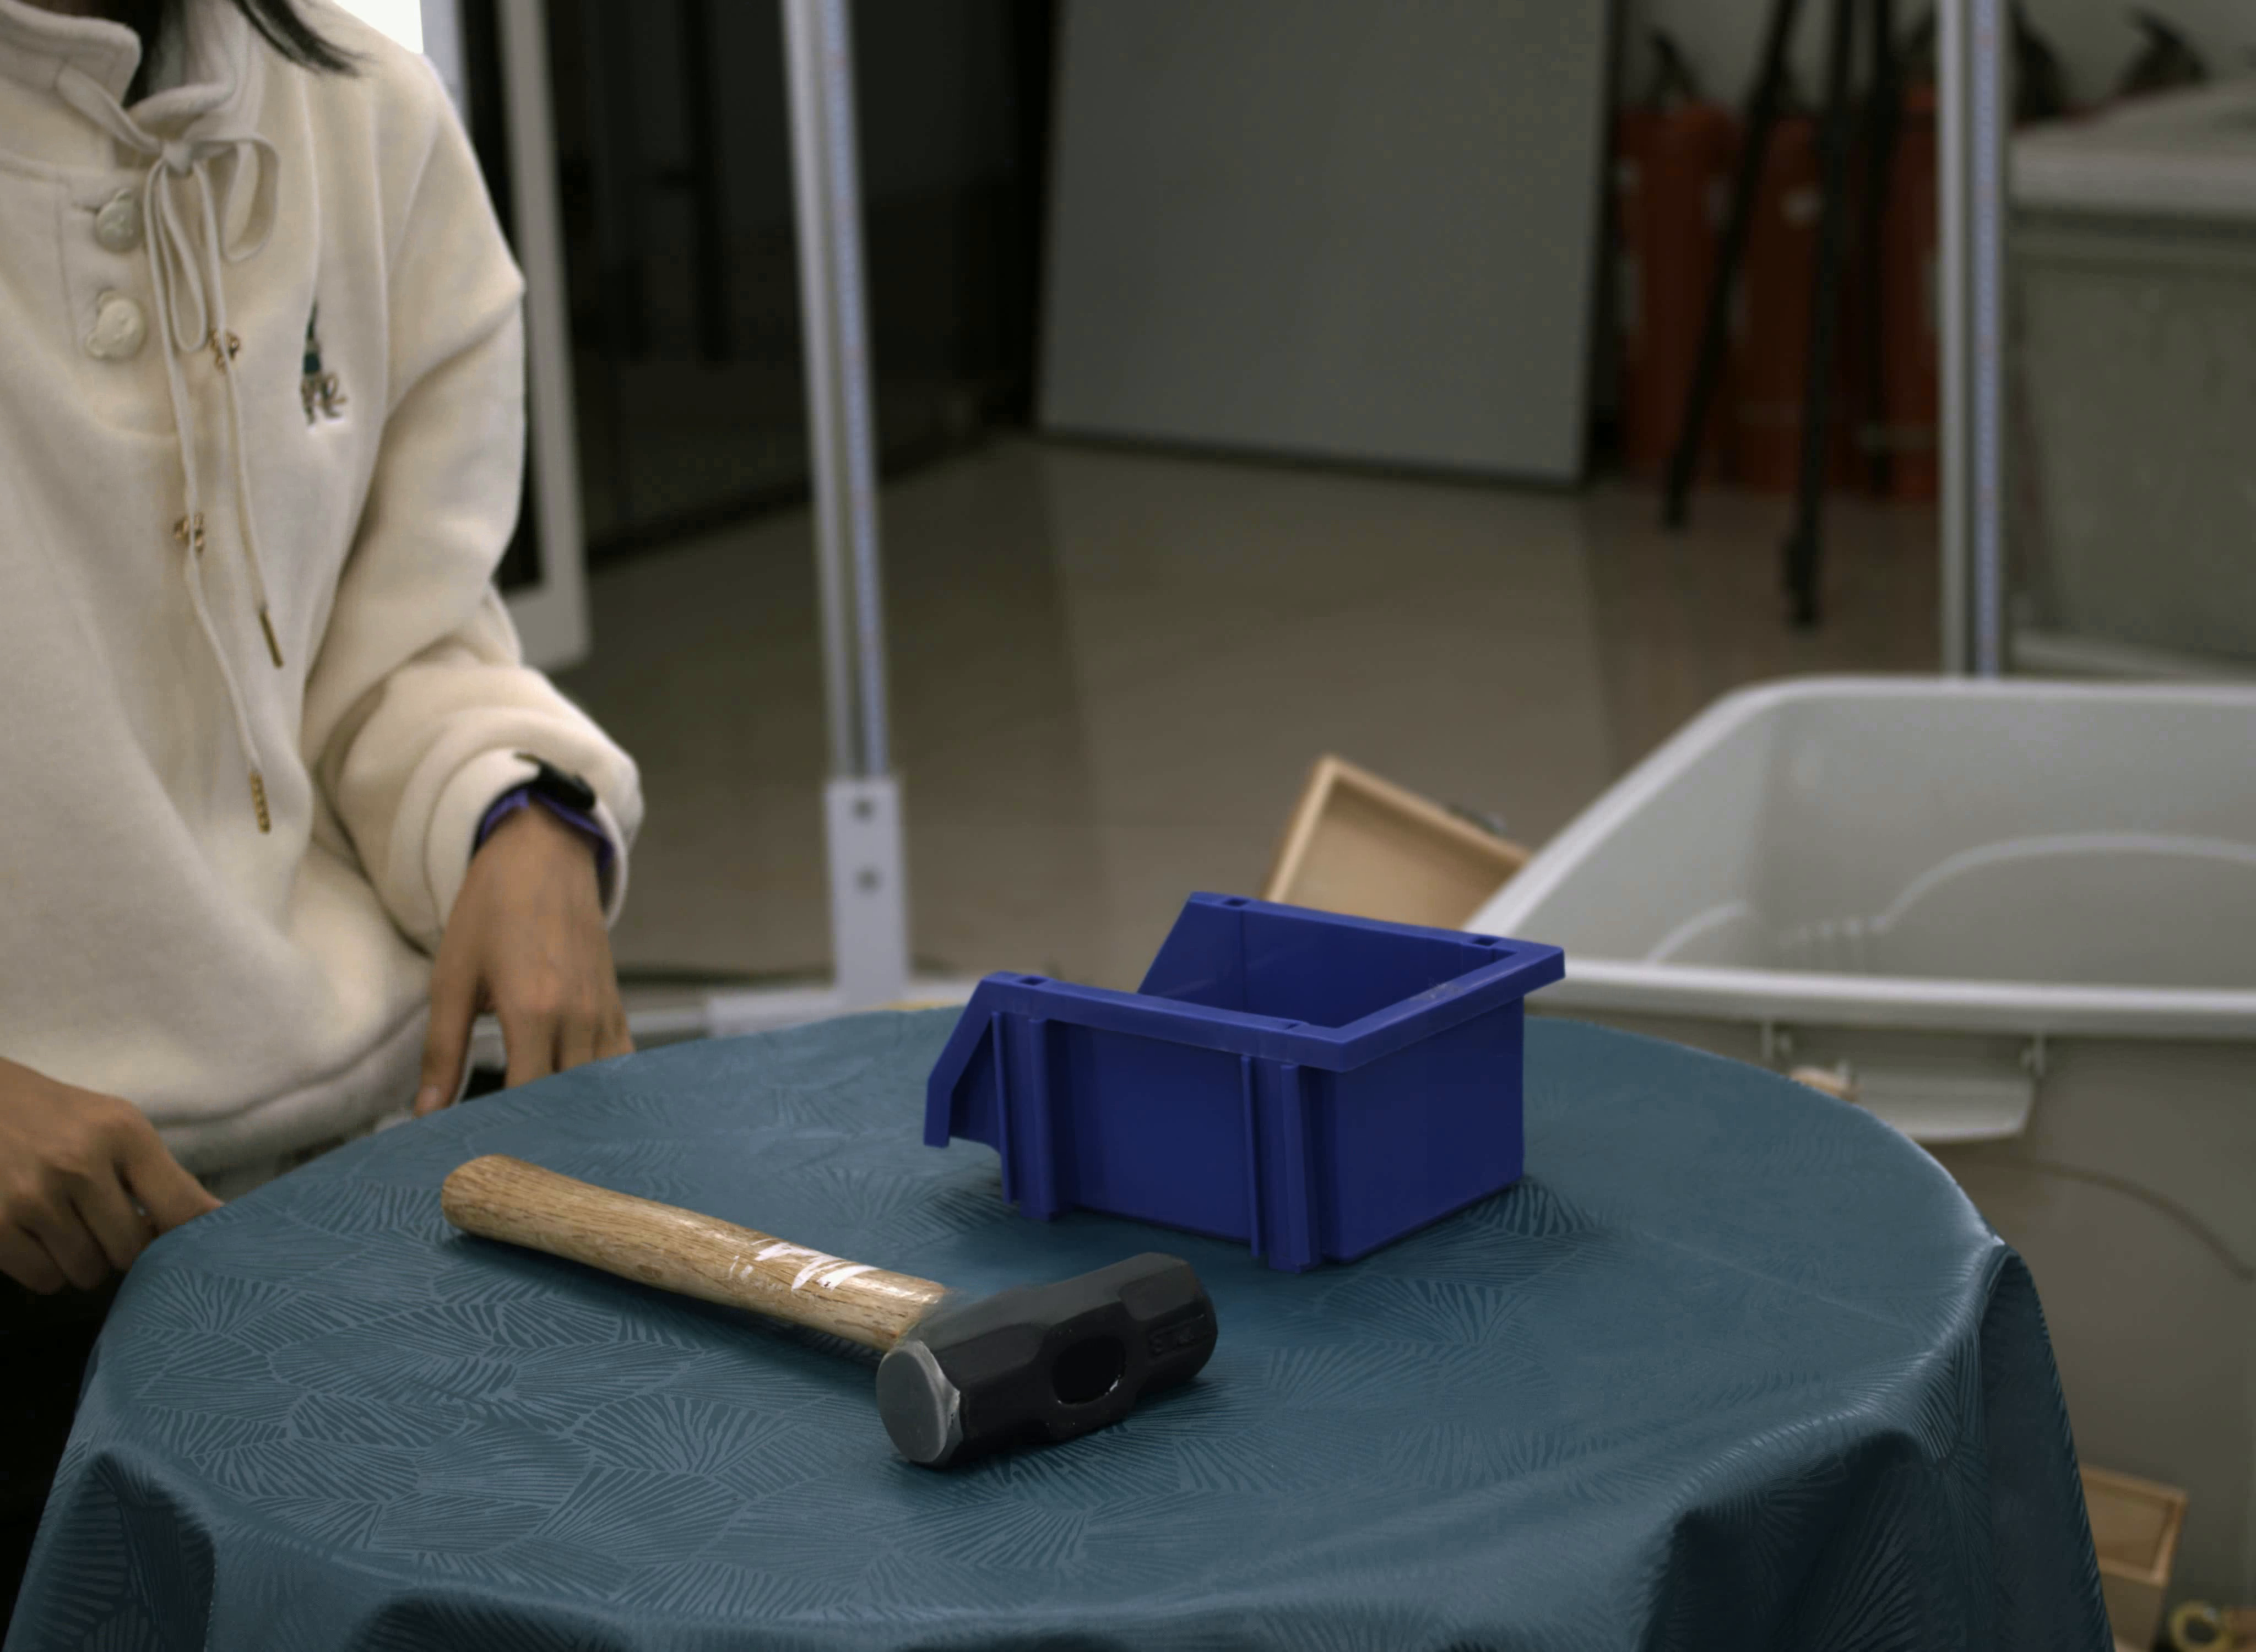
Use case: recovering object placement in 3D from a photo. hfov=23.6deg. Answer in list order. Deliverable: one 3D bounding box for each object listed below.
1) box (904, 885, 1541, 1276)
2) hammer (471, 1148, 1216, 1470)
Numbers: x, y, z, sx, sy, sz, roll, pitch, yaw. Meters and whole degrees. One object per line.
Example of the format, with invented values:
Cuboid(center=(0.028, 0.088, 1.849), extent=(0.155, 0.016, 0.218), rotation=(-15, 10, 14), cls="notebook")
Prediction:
Cuboid(center=(0.029, 0.080, 1.760), extent=(0.181, 0.083, 0.122), rotation=(11, 20, 40), cls="box")
Cuboid(center=(-0.108, 0.138, 1.664), extent=(0.105, 0.039, 0.308), rotation=(-15, 16, -37), cls="hammer")
